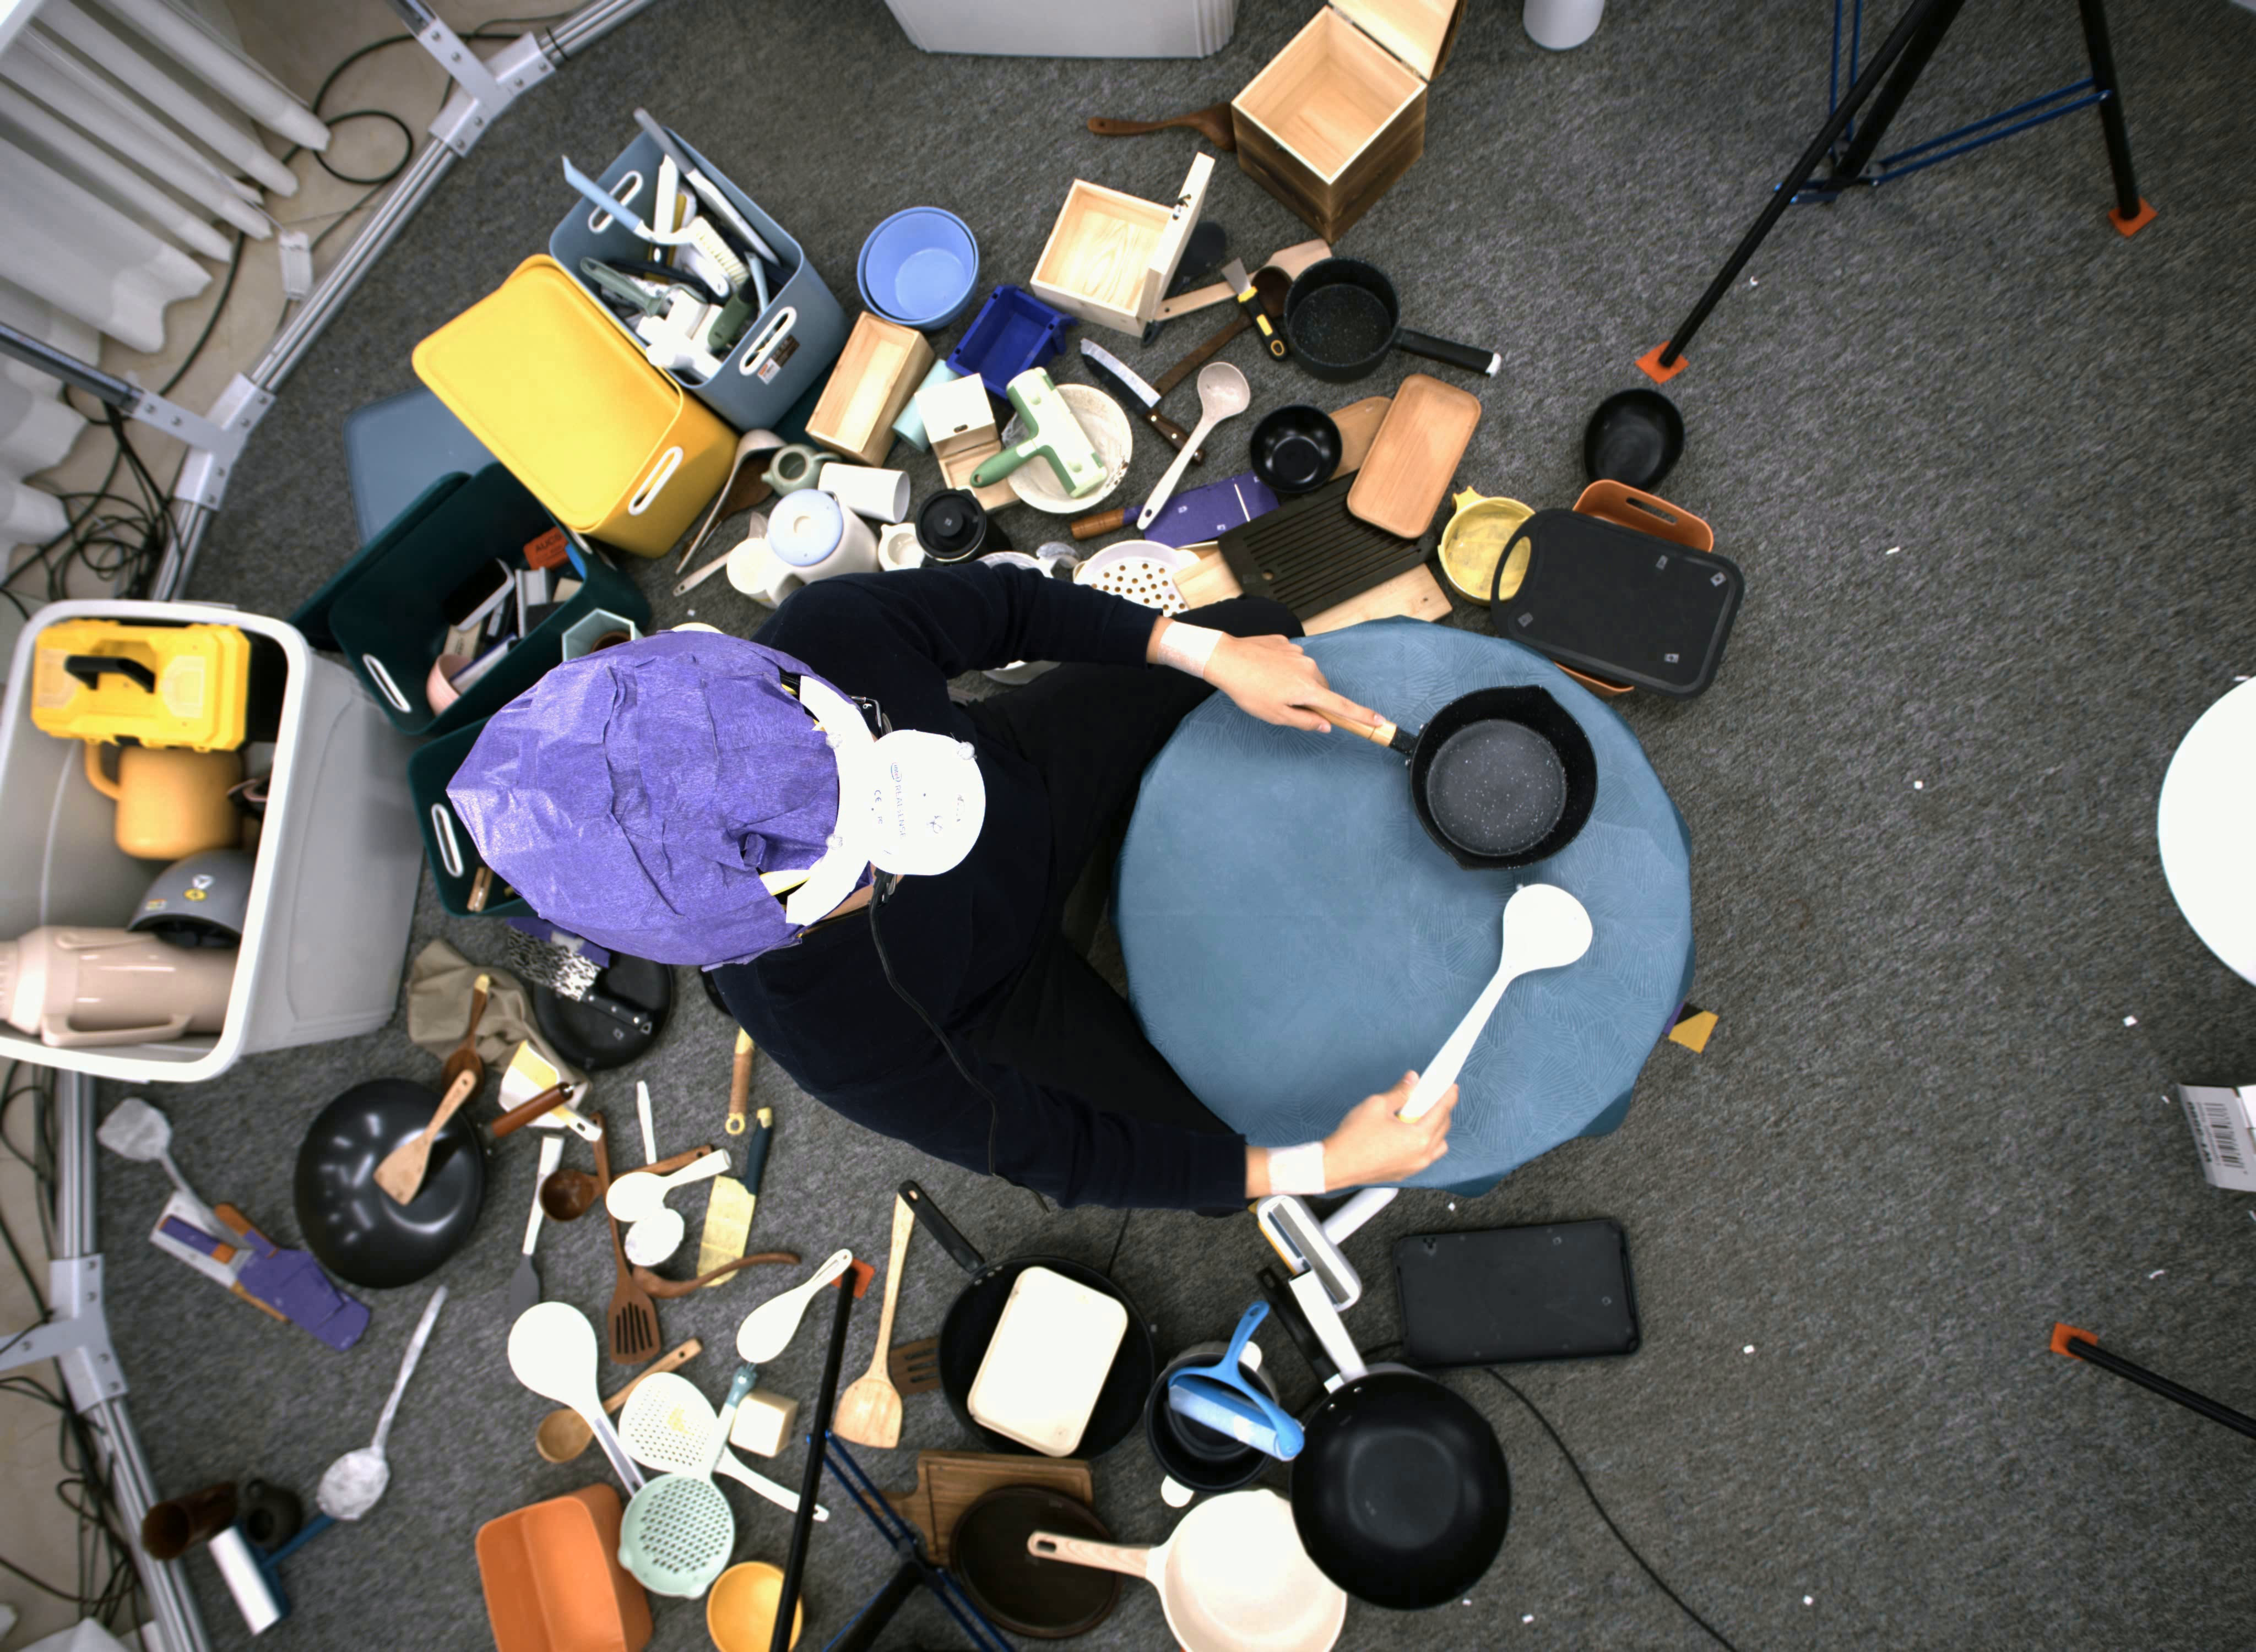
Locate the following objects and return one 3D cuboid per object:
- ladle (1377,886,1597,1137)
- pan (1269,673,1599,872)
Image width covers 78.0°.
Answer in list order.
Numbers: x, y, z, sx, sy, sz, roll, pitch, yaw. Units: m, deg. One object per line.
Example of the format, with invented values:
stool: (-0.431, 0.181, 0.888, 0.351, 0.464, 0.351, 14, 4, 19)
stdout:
ladle: (0.352, 0.184, 1.367, 0.090, 0.070, 0.290, 41, 78, 0)
pan: (0.305, -0.076, 1.407, 0.343, 0.108, 0.207, 21, 91, 10)
